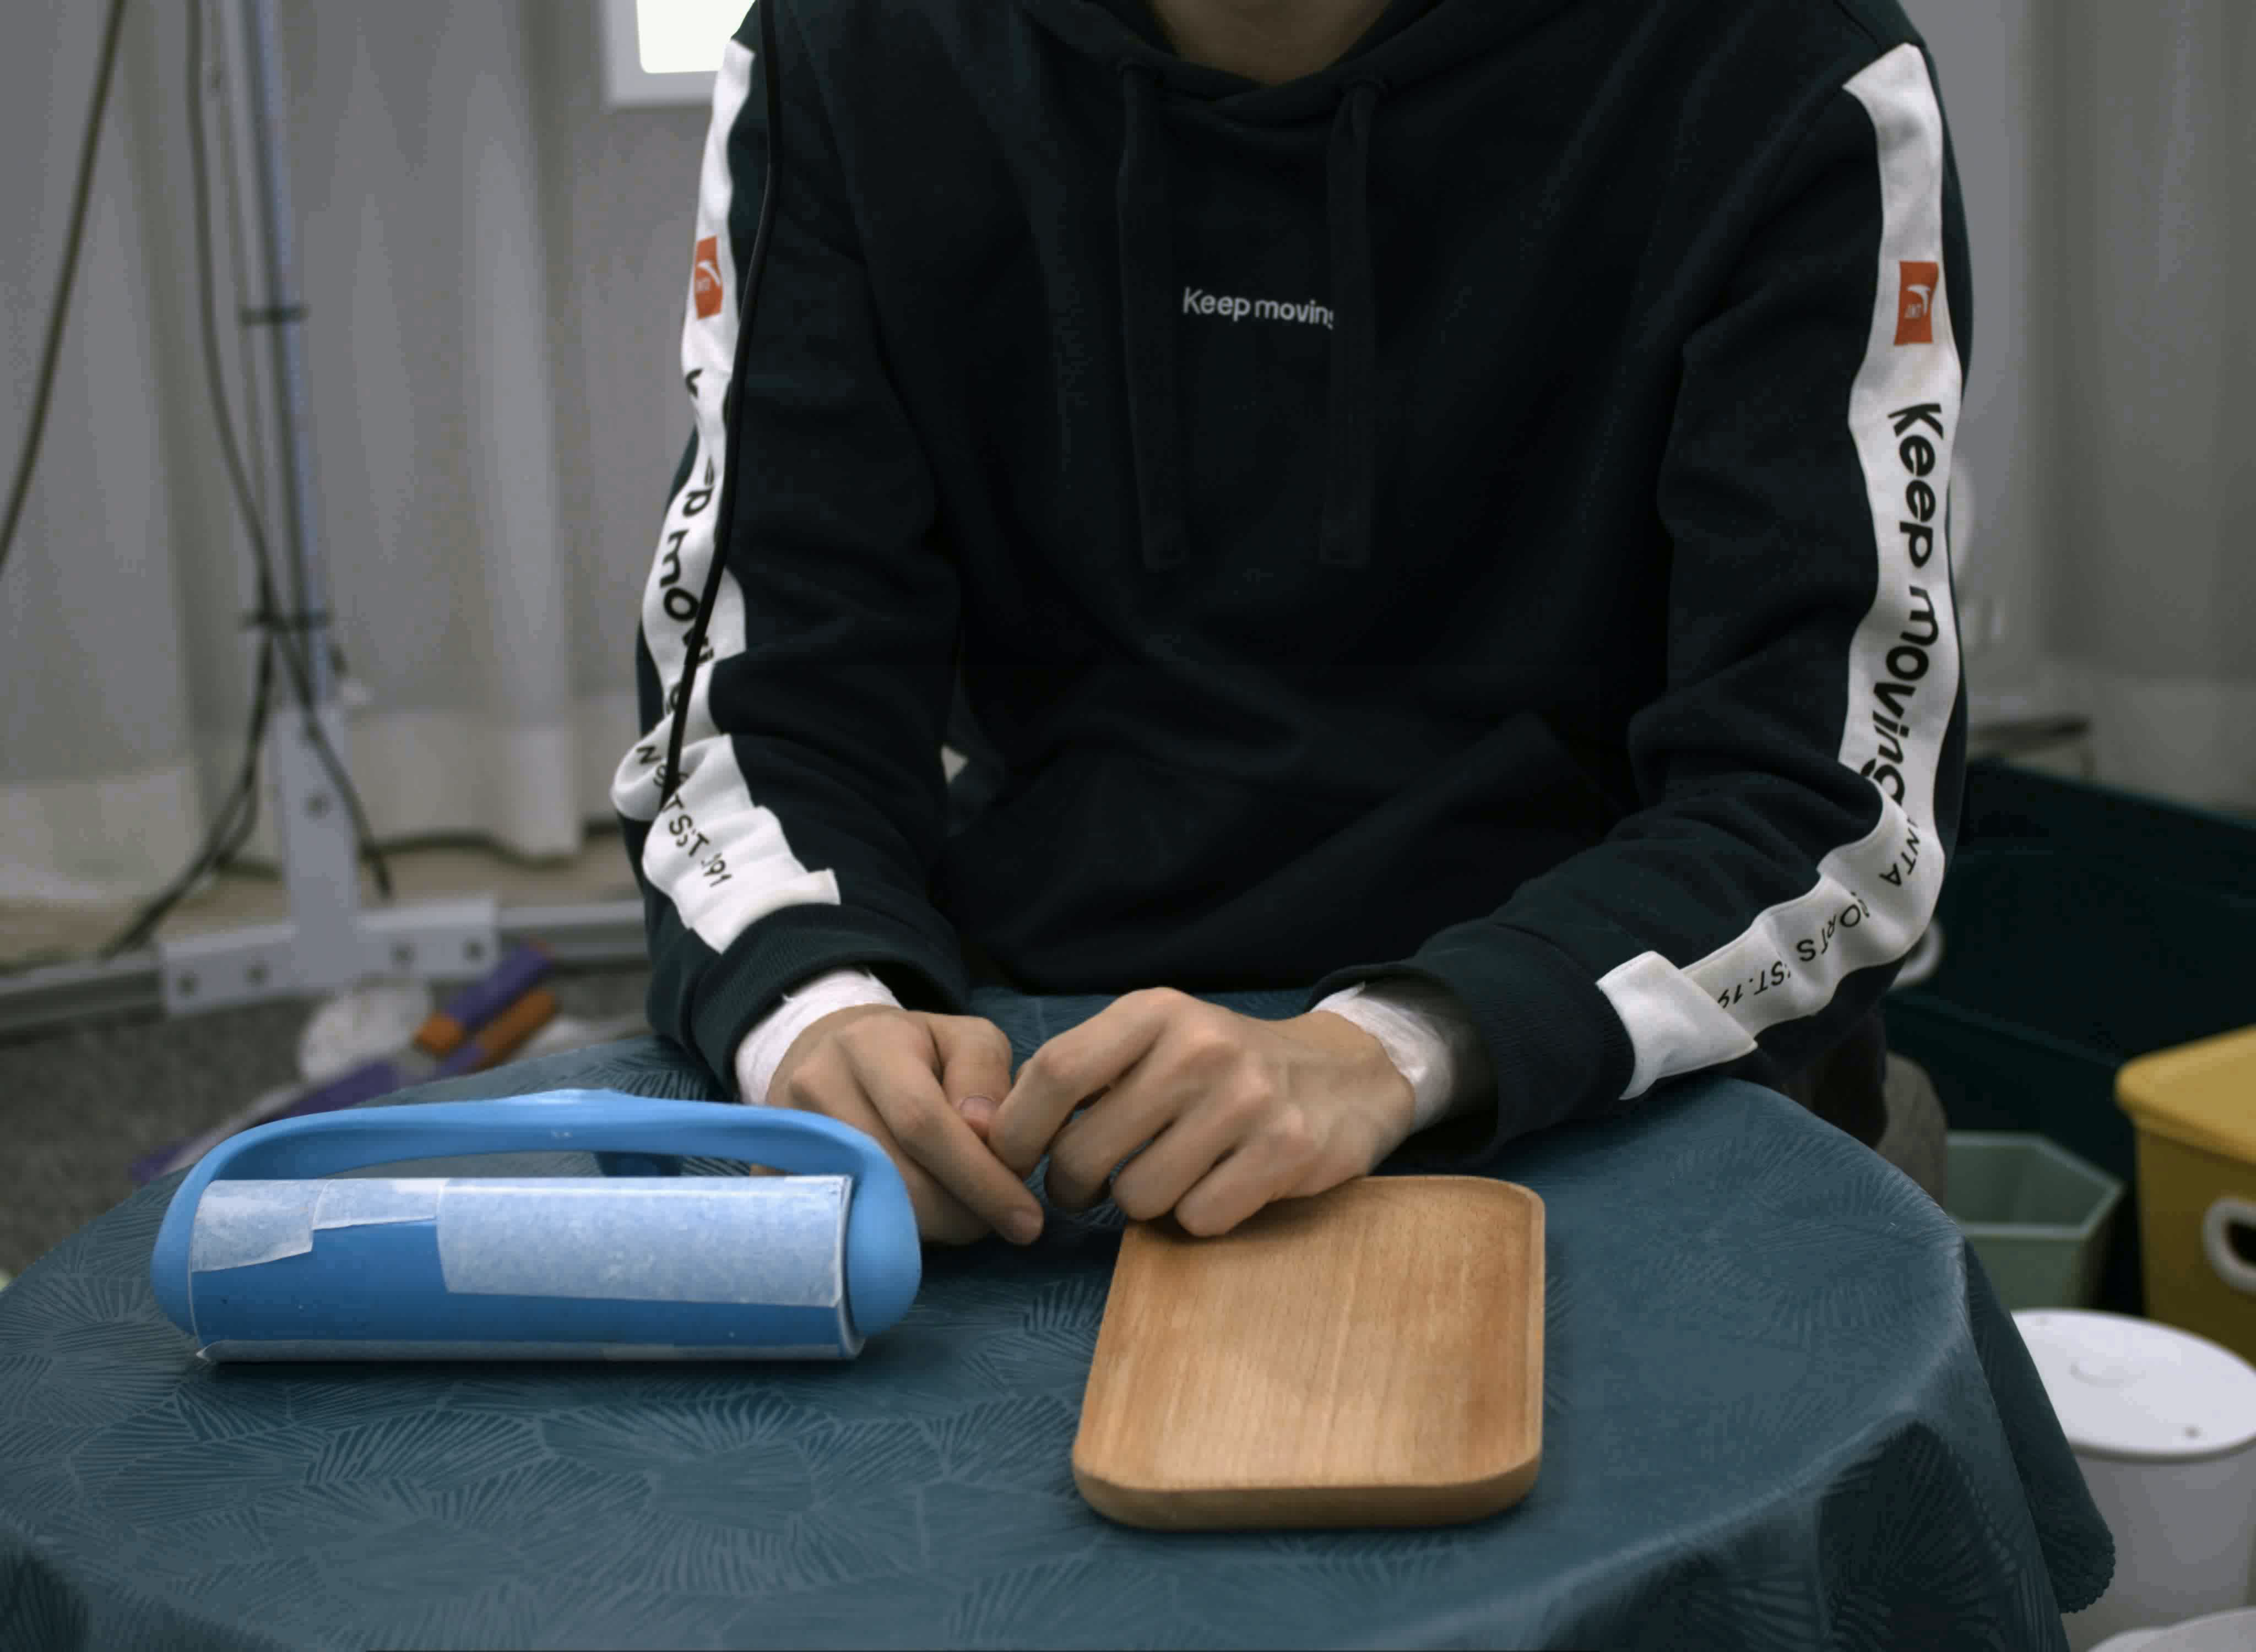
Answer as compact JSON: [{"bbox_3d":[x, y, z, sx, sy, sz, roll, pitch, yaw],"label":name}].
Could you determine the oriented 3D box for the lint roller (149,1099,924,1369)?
[{"bbox_3d":[-0.168,0.113,1.646,0.228,0.067,0.181,-3,15,6],"label":"lint roller"}]

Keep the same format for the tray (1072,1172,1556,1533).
[{"bbox_3d":[0.057,0.147,1.551,0.130,0.023,0.252,0,15,5],"label":"tray"}]
